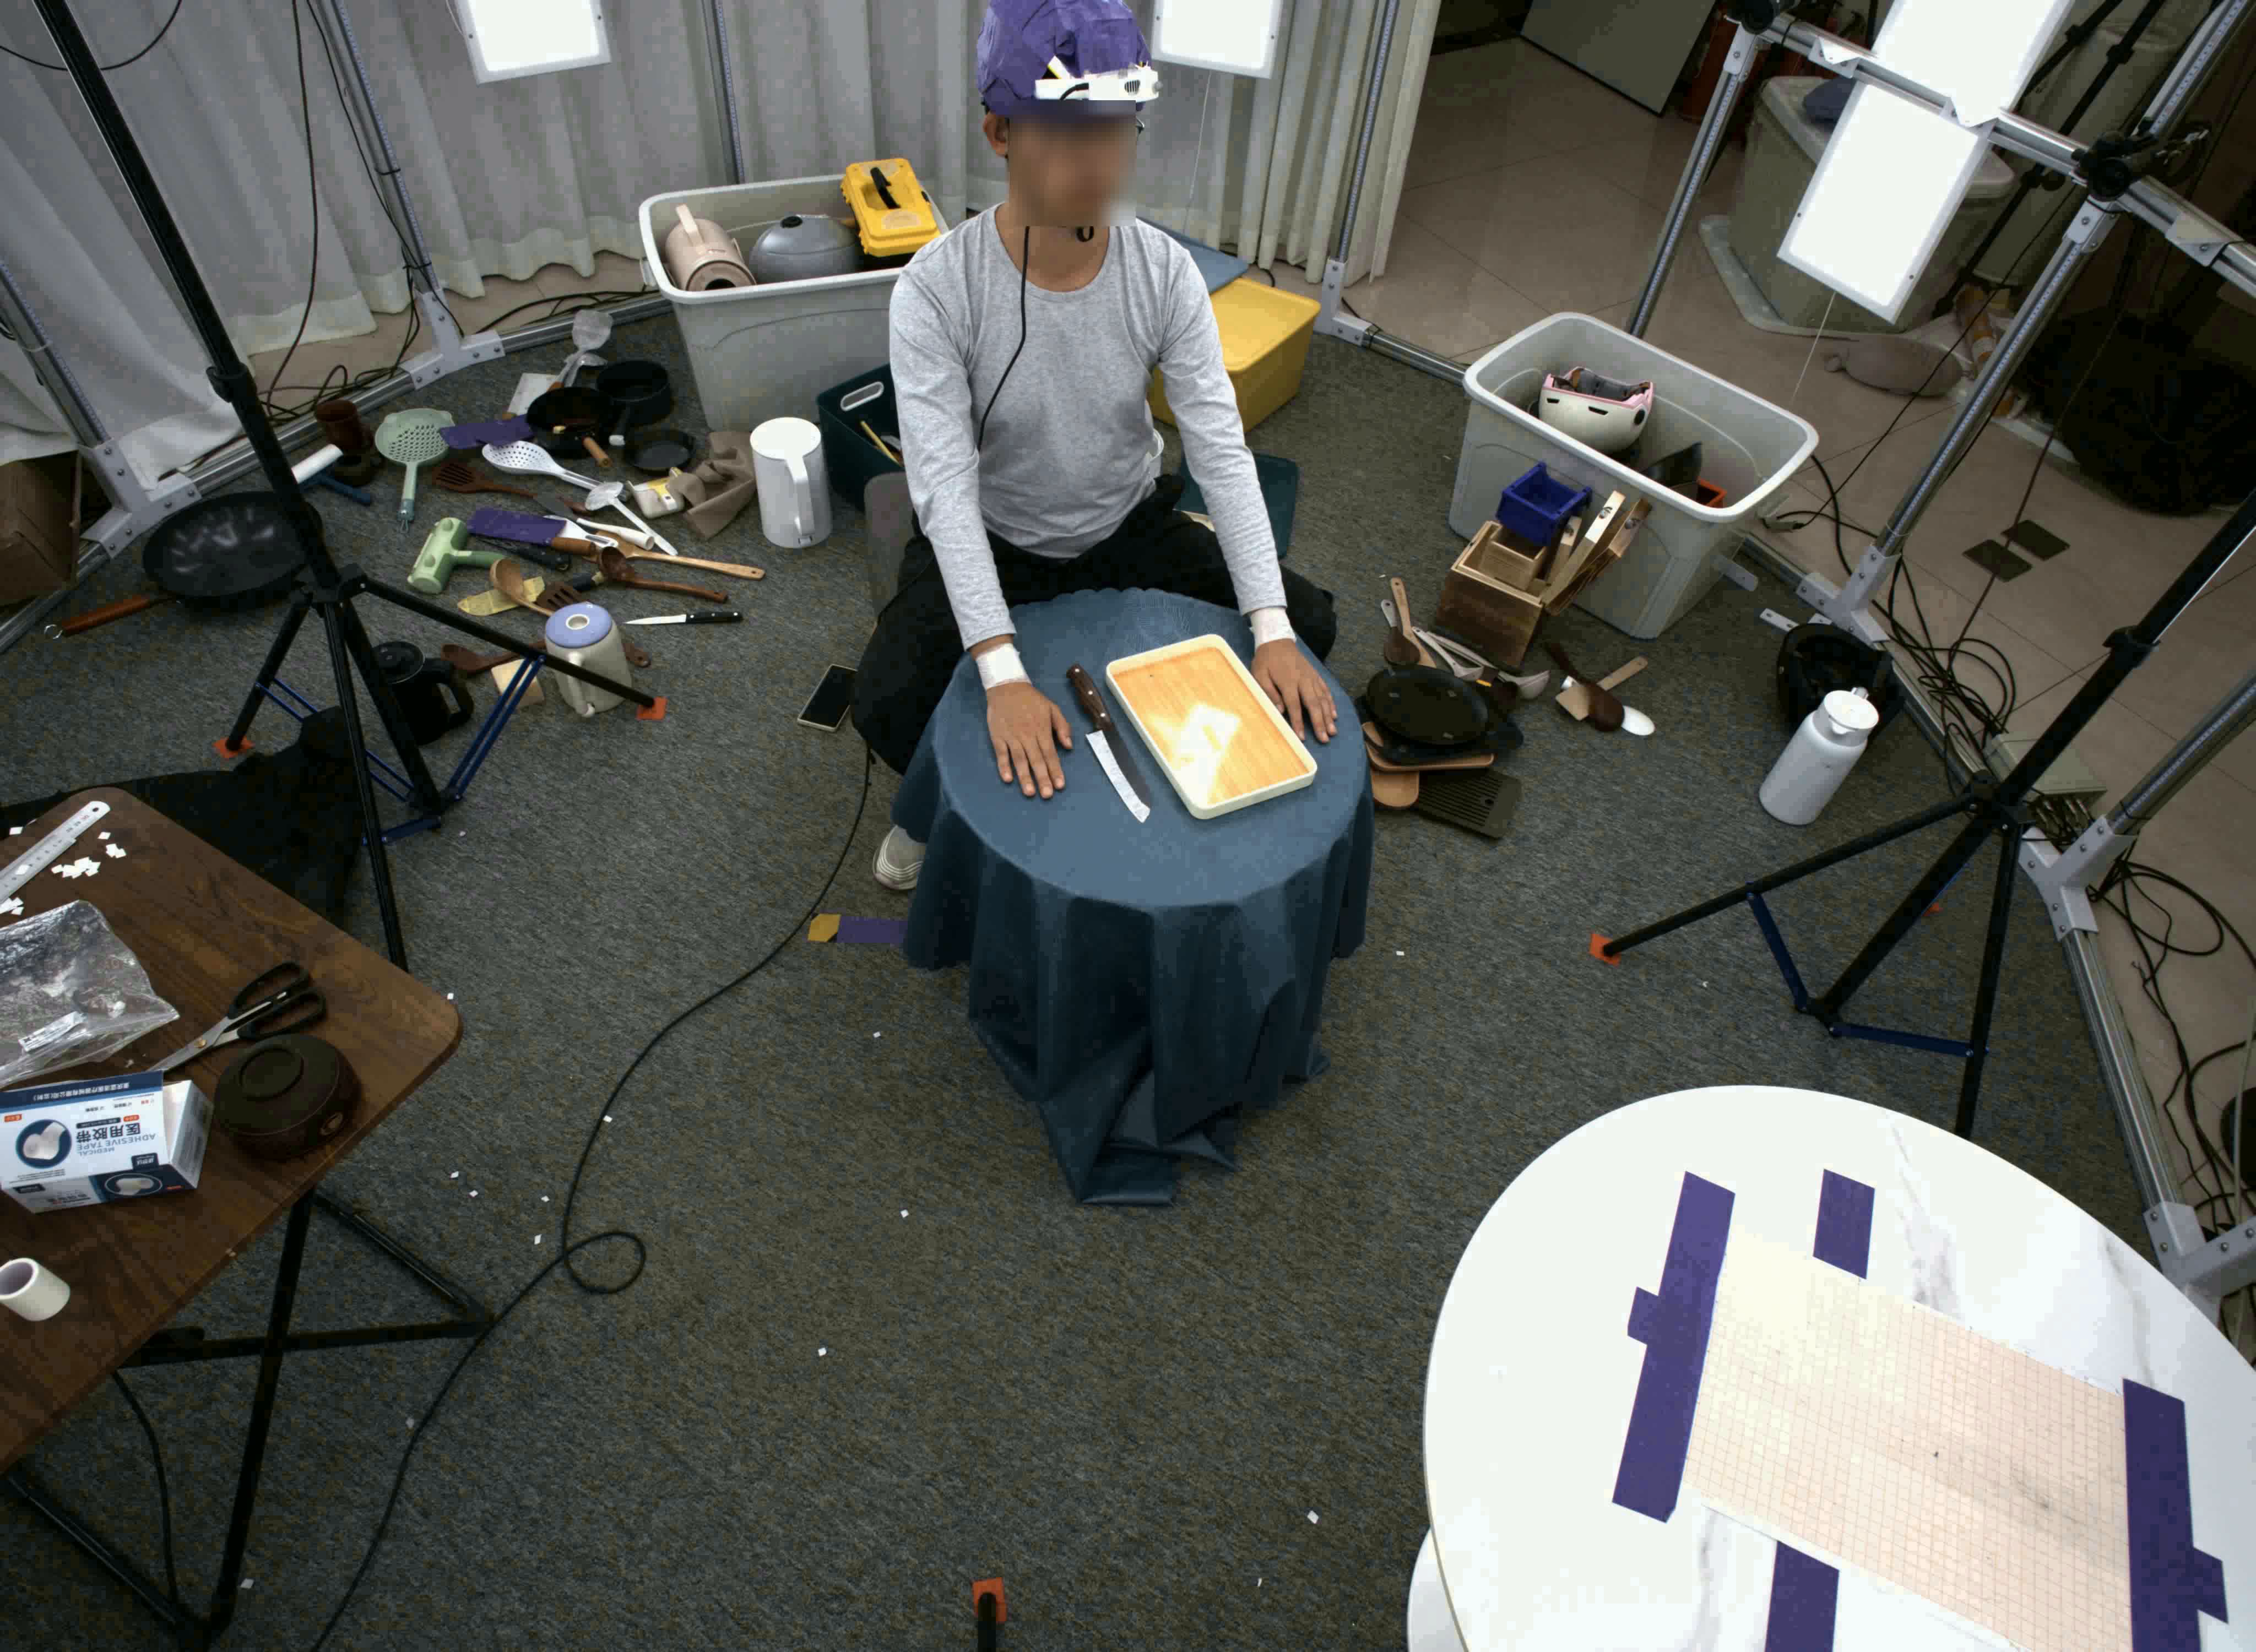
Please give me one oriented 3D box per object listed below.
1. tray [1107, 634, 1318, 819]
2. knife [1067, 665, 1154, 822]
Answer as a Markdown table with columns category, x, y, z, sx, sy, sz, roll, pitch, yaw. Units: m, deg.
| category | x | y | z | sx | sy | sz | roll | pitch | yaw |
| --- | --- | --- | --- | --- | --- | --- | --- | --- | --- |
| tray | 0.112 | -0.145 | 1.784 | 0.192 | 0.027 | 0.307 | -17 | 52 | -18 |
| knife | -0.027 | -0.116 | 1.756 | 0.050 | 0.019 | 0.296 | -17 | 54 | -11 |
